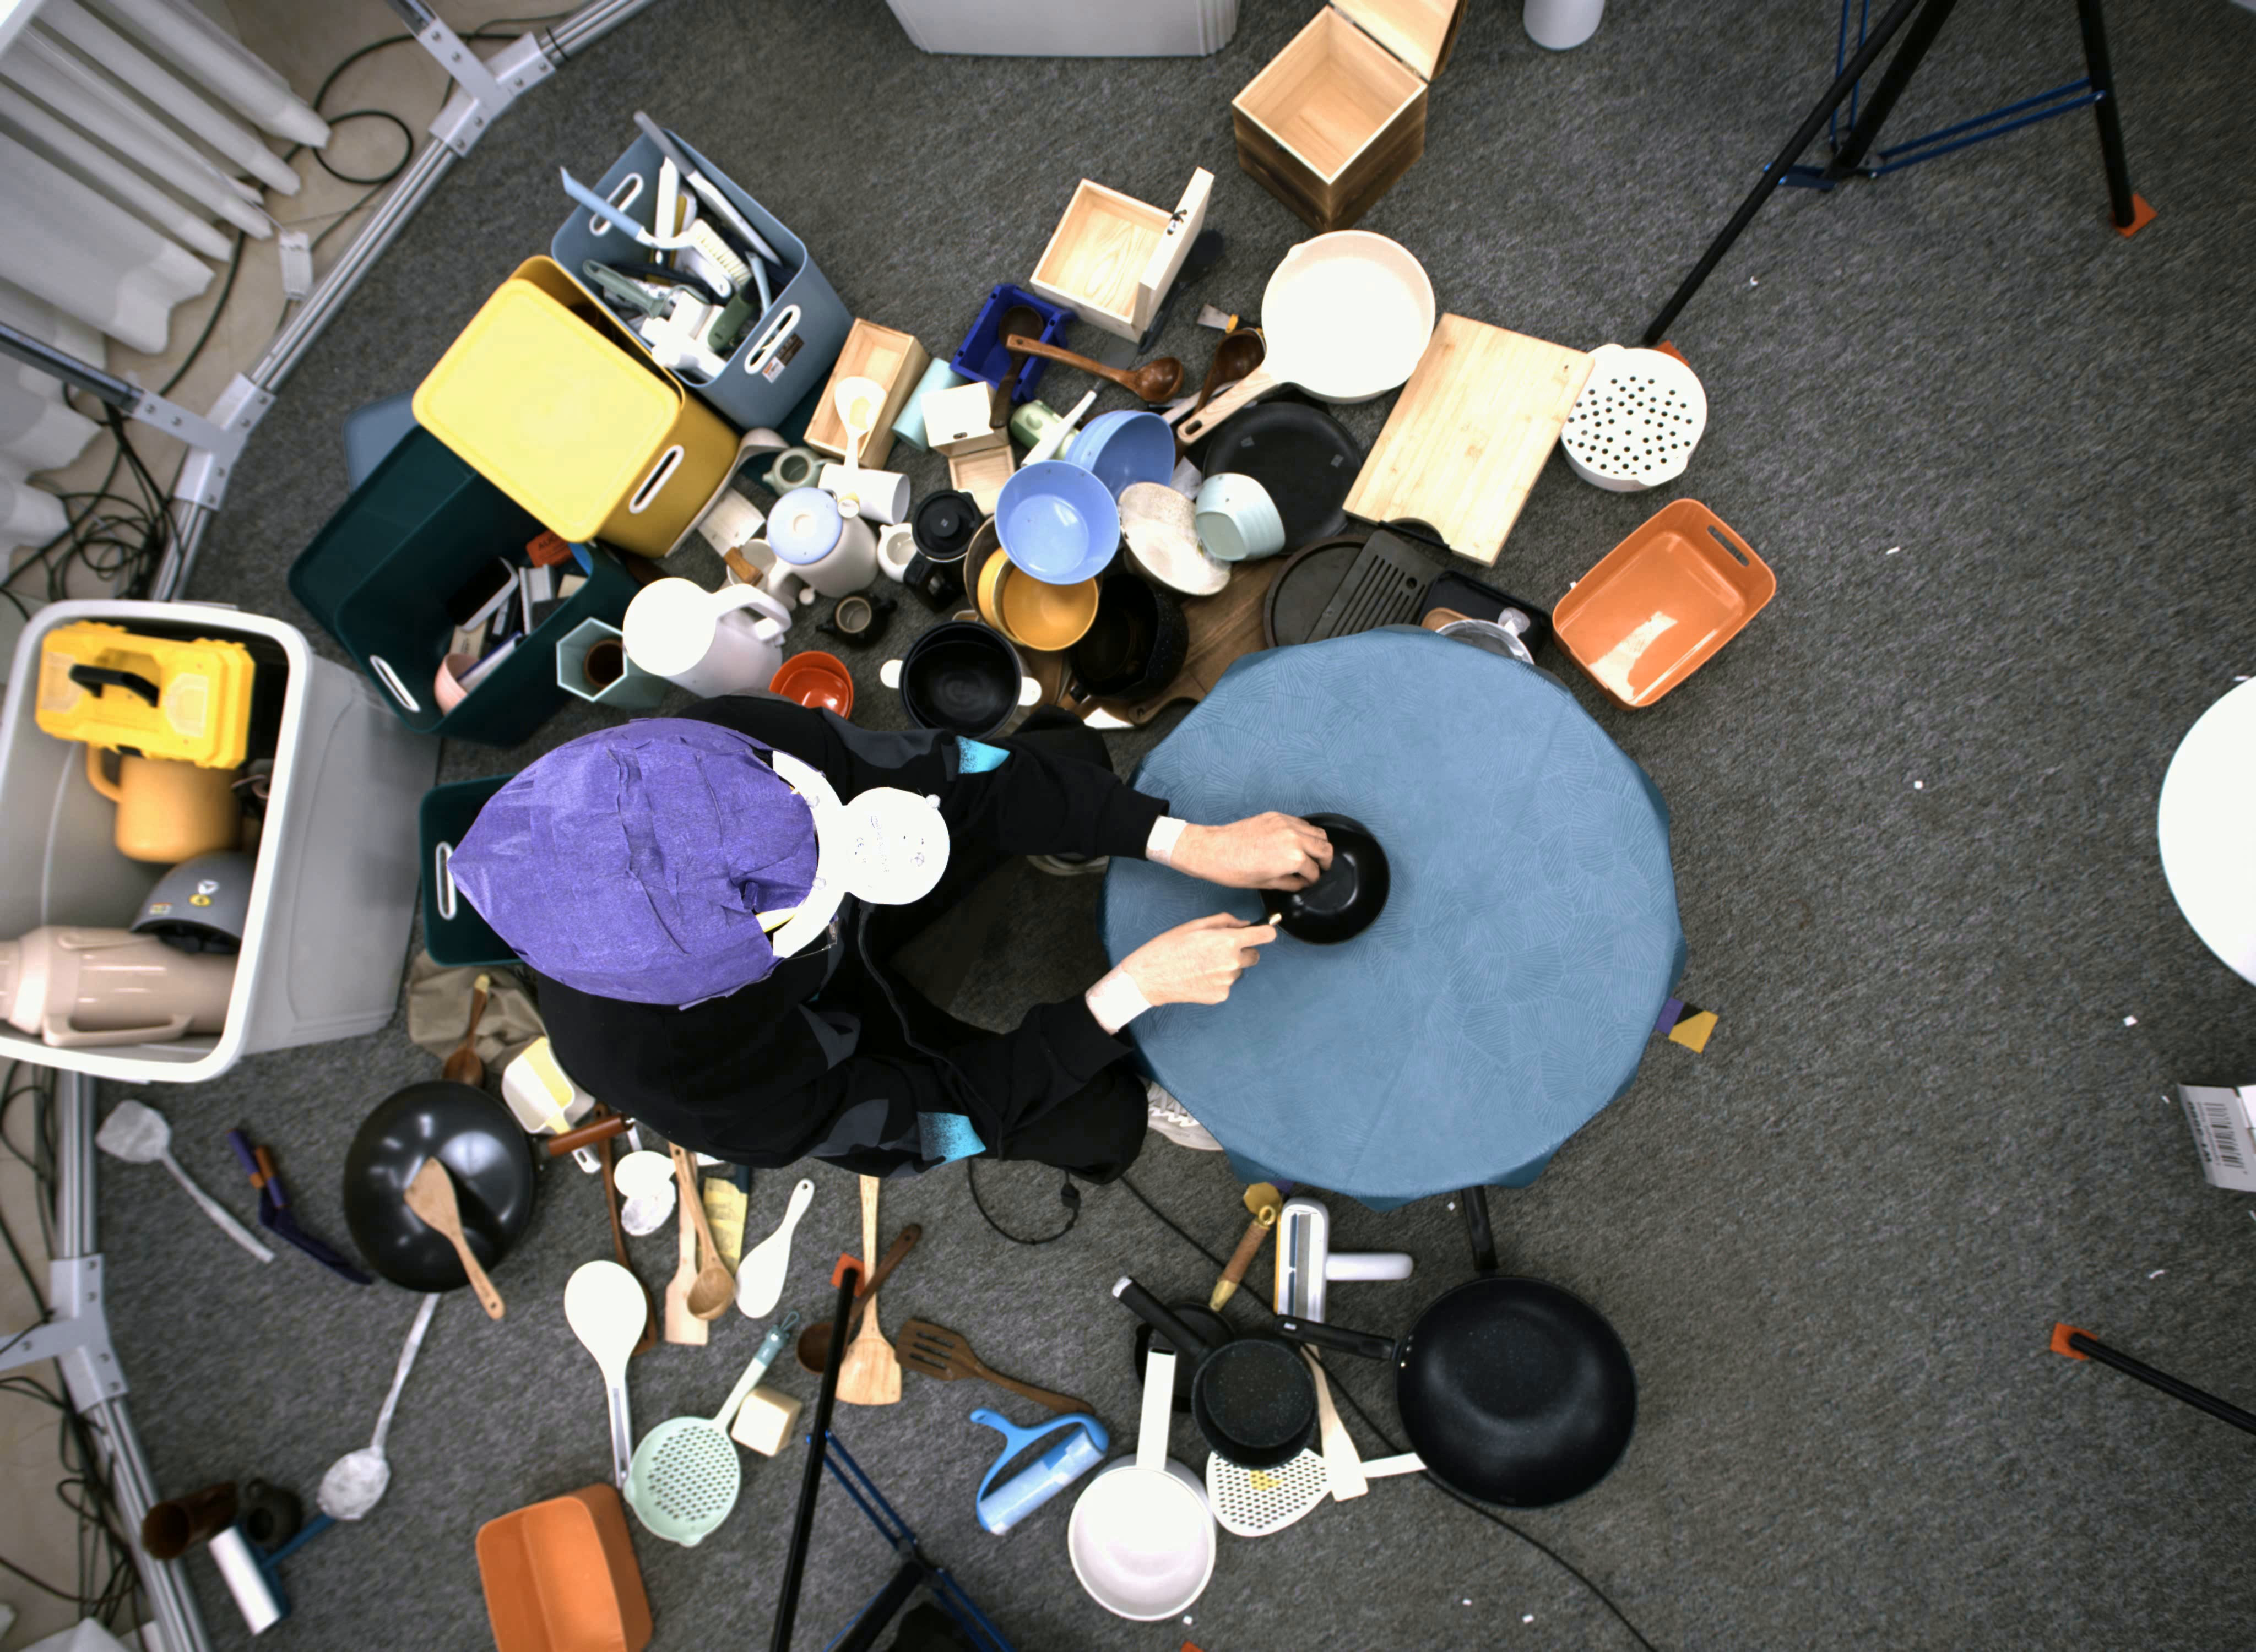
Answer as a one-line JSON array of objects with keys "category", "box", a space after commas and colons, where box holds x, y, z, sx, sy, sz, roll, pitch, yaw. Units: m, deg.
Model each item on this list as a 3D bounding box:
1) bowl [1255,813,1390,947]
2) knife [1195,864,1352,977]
[{"category": "bowl", "box": [0.206, 0.056, 1.451, 0.140, 0.049, 0.139, -1, 89, 14]}, {"category": "knife", "box": [0.153, 0.092, 1.421, 0.222, 0.026, 0.017, -32, 88, -24]}]
